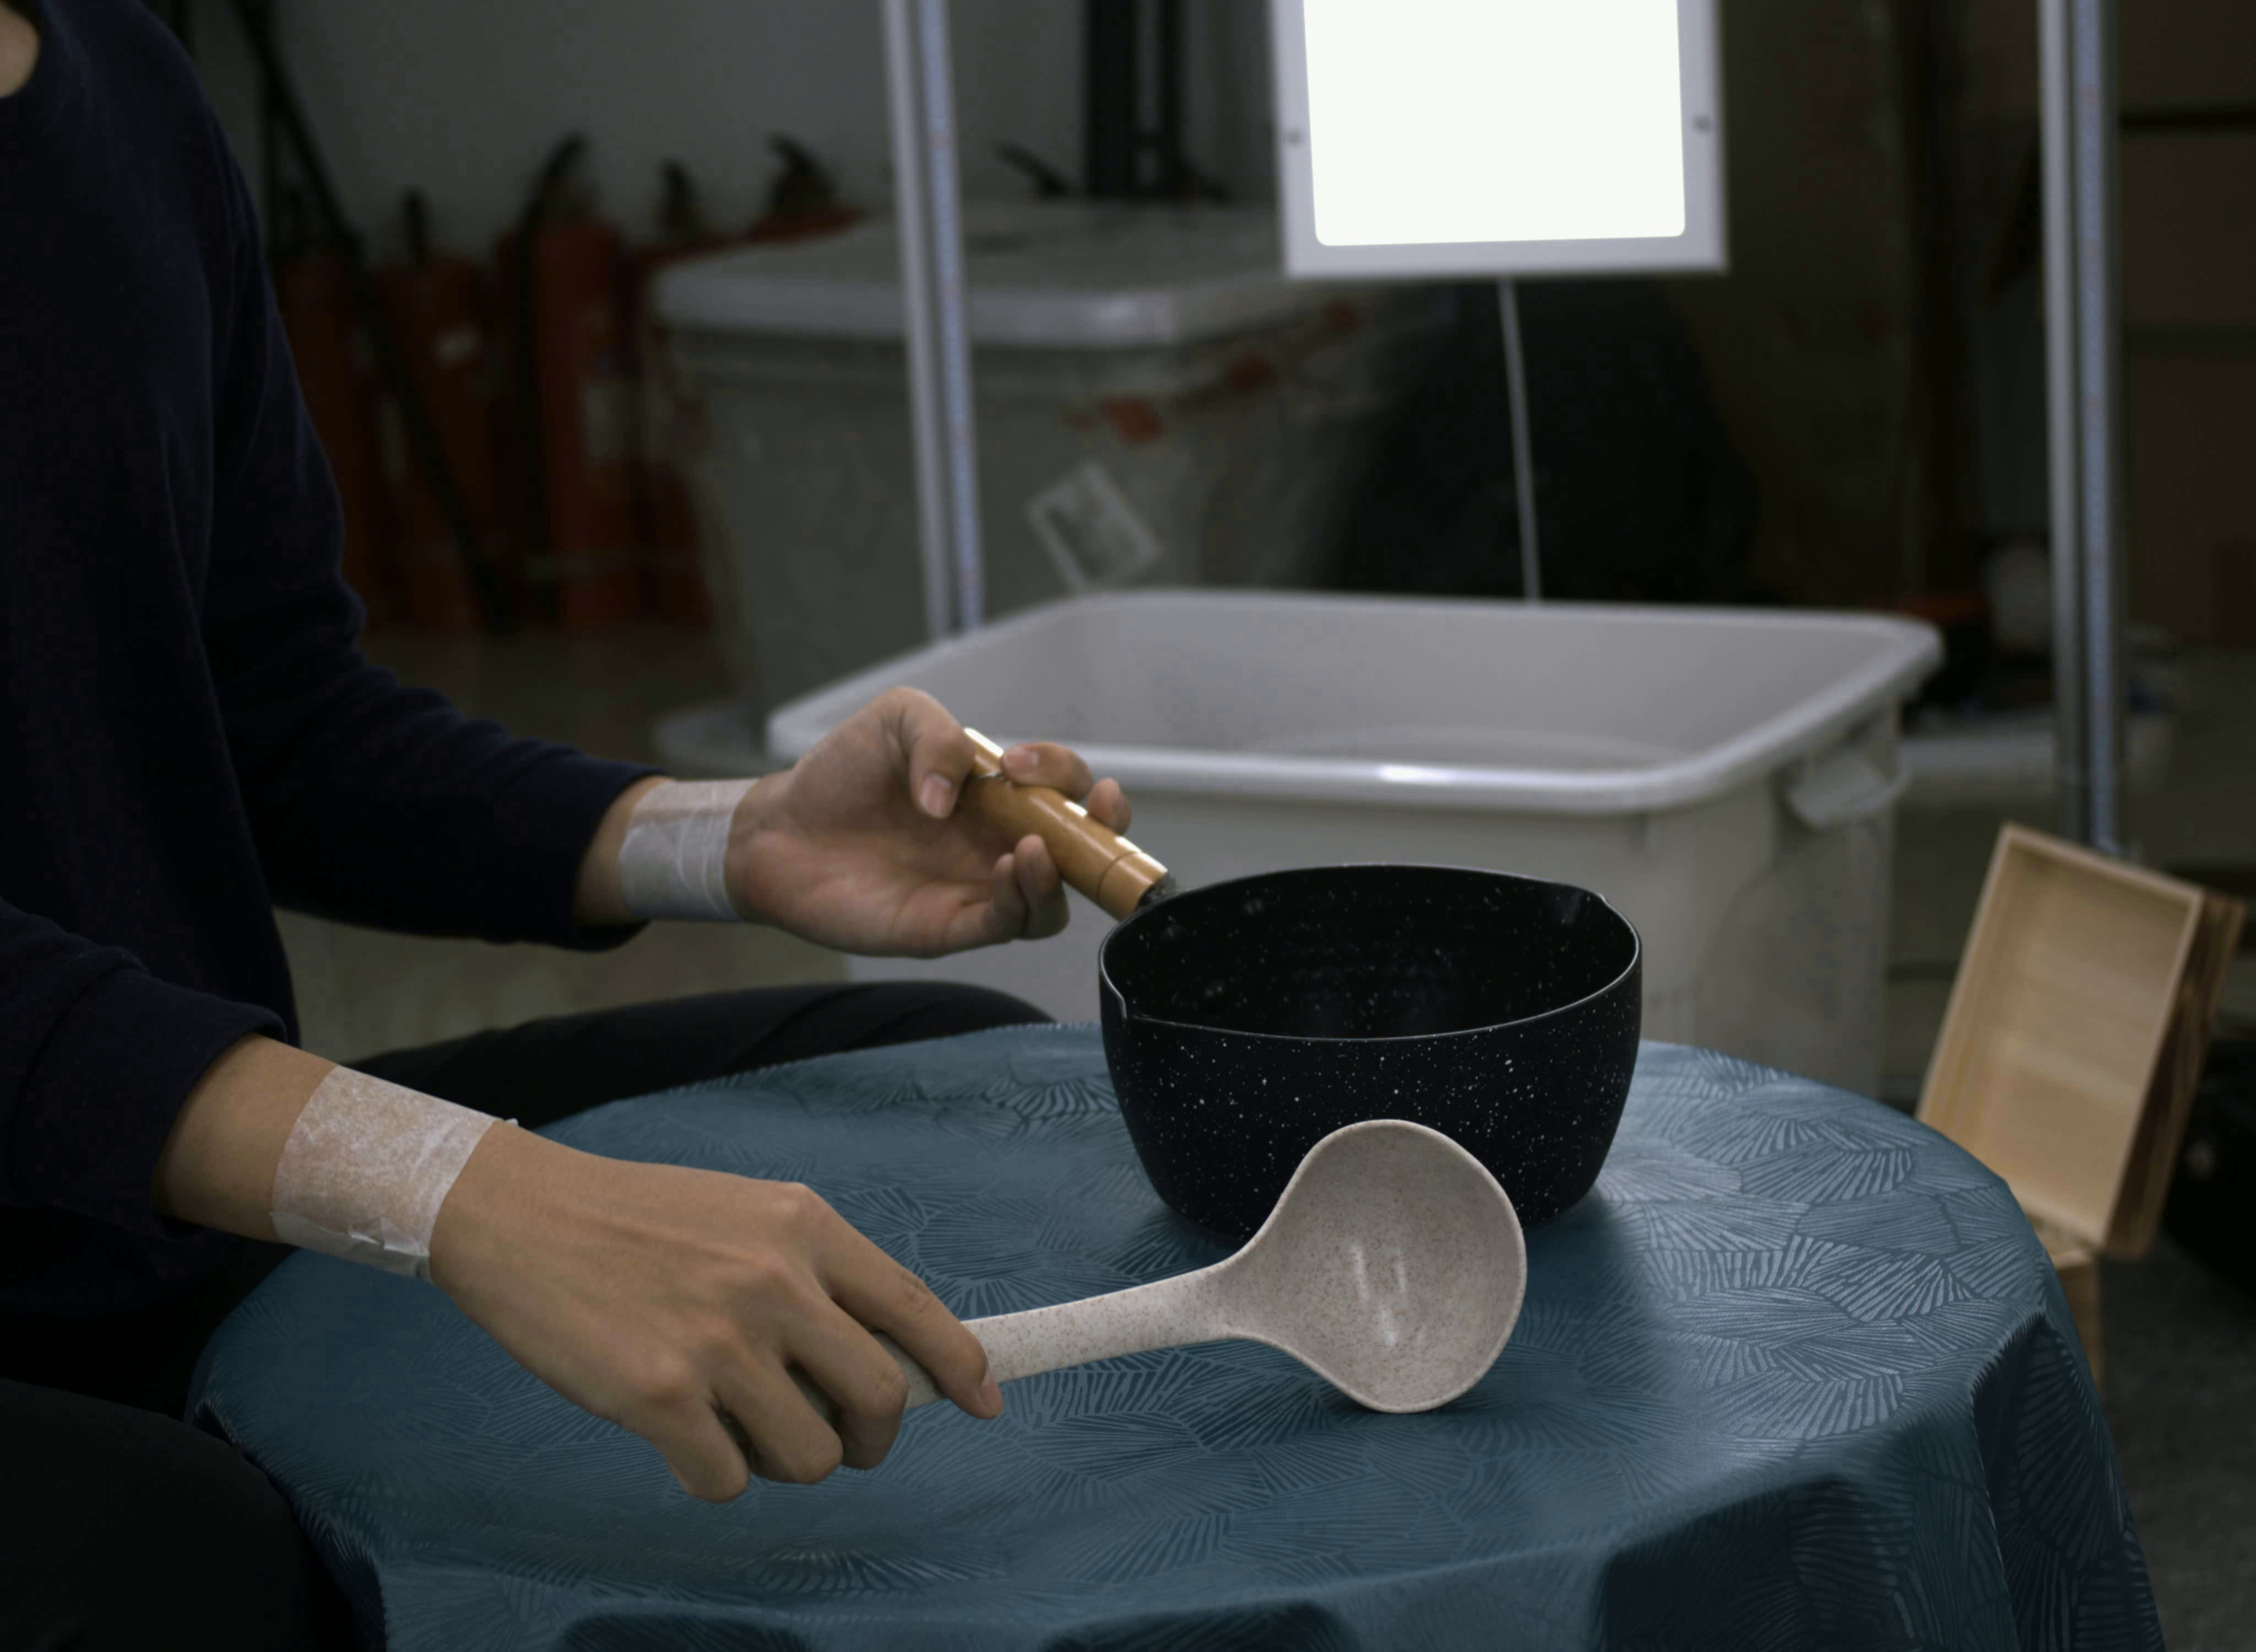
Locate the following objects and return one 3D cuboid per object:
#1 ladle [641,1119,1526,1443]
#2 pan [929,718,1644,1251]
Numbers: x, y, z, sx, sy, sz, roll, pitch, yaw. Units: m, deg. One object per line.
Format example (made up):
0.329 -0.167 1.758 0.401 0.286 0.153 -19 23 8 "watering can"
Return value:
-0.008 0.146 1.608 0.268 0.089 0.071 -9 0 -32 "ladle"
0.034 0.052 1.919 0.202 0.109 0.349 -16 23 -33 "pan"
